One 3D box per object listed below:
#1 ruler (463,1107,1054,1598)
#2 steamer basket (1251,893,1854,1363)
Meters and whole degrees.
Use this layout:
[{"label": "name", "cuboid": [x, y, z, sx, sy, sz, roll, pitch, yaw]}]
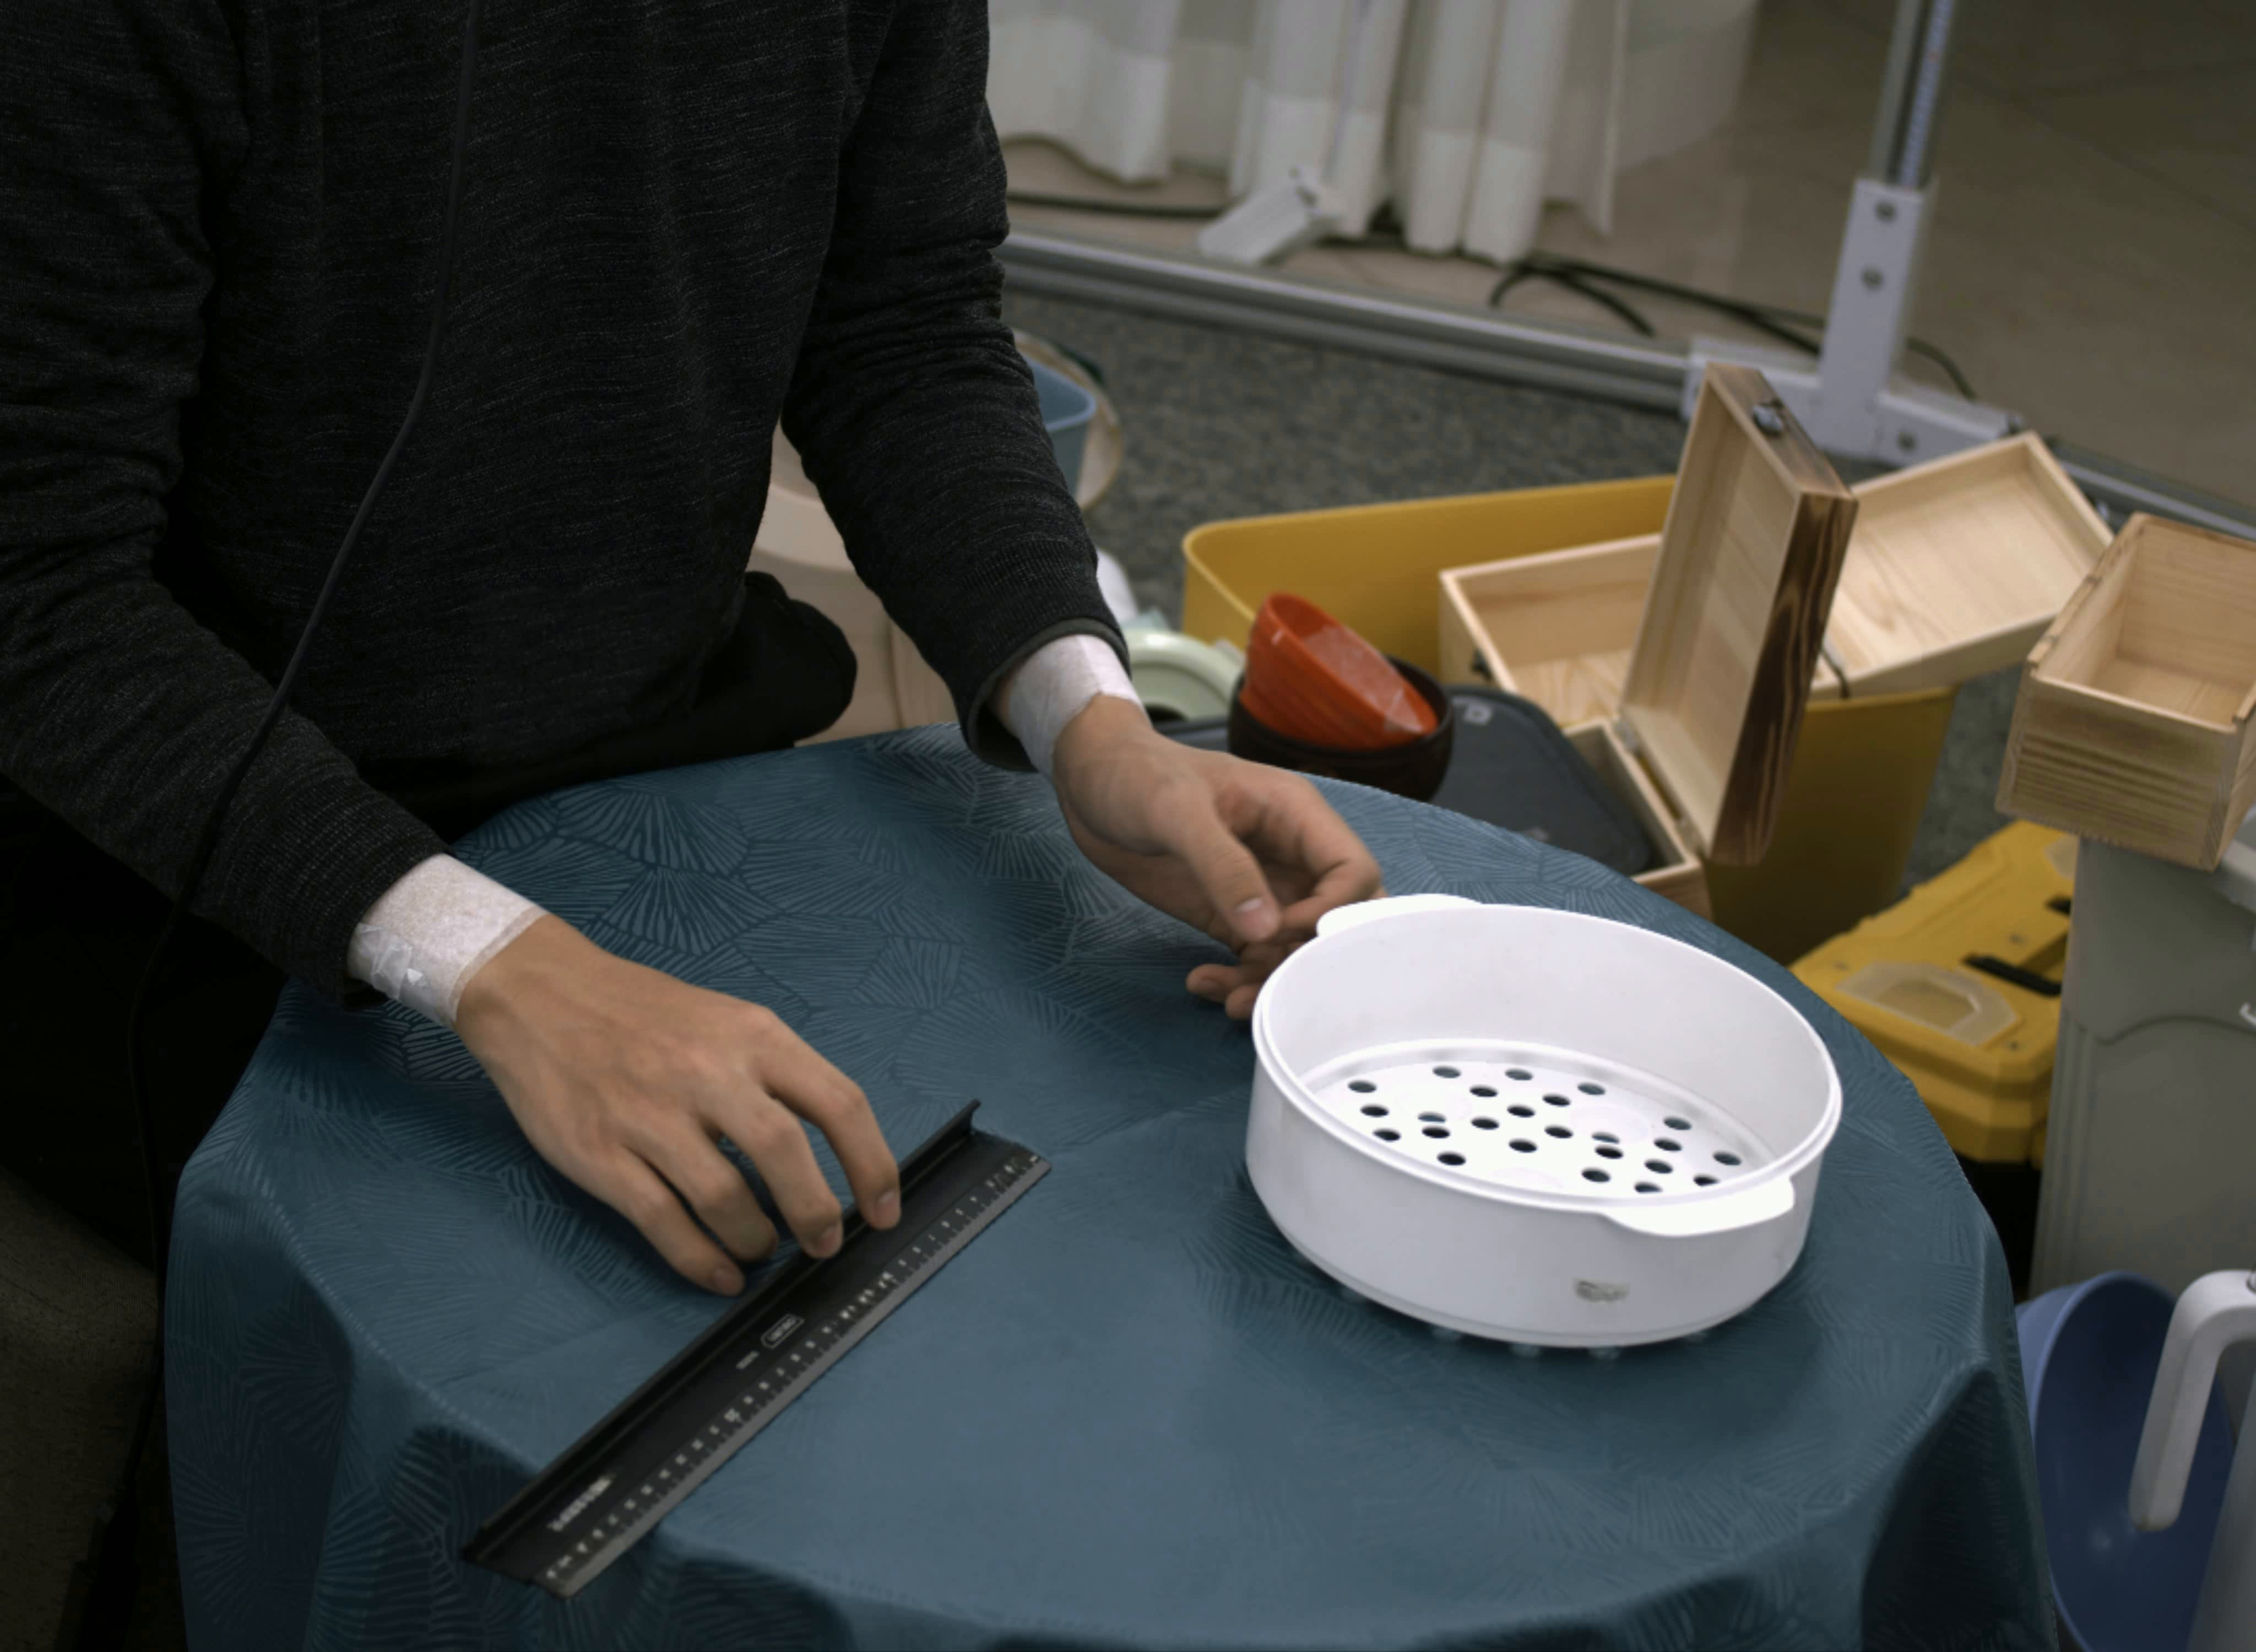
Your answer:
[{"label": "ruler", "cuboid": [-0.110, 0.161, 1.687, 0.039, 0.017, 0.312, 20, 30, 21]}, {"label": "steamer basket", "cuboid": [0.141, 0.104, 1.797, 0.200, 0.069, 0.233, -8, 32, -27]}]
